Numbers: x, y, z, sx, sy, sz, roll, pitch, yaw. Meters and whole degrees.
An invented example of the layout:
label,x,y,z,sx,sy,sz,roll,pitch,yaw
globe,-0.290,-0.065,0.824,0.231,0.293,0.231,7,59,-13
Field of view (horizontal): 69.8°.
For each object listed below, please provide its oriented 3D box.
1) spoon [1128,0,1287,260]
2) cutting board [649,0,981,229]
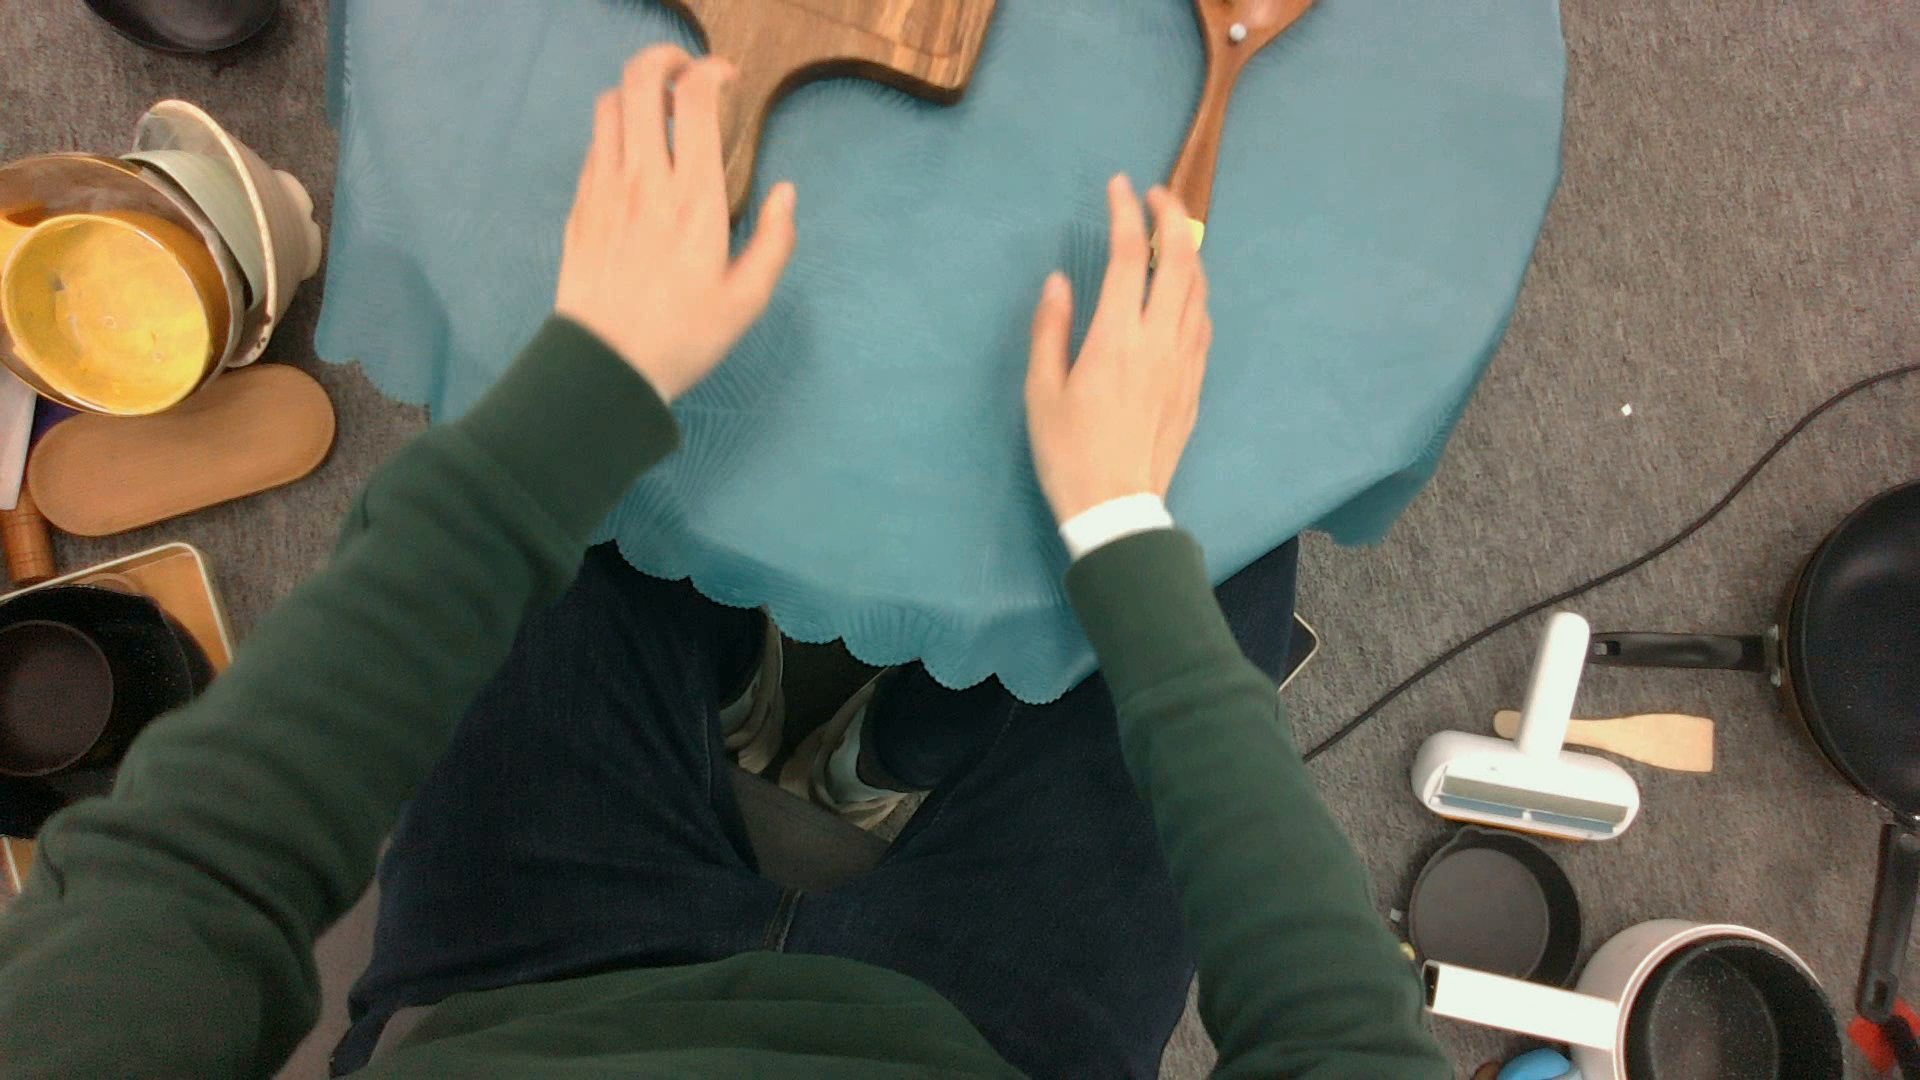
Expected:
label,x,y,z,sx,sy,sz,roll,pitch,yaw
spoon,0.119,-0.238,0.679,0.075,0.017,0.216,18,79,-8
cutting board,-0.078,-0.313,0.662,0.201,0.023,0.353,19,80,-7
